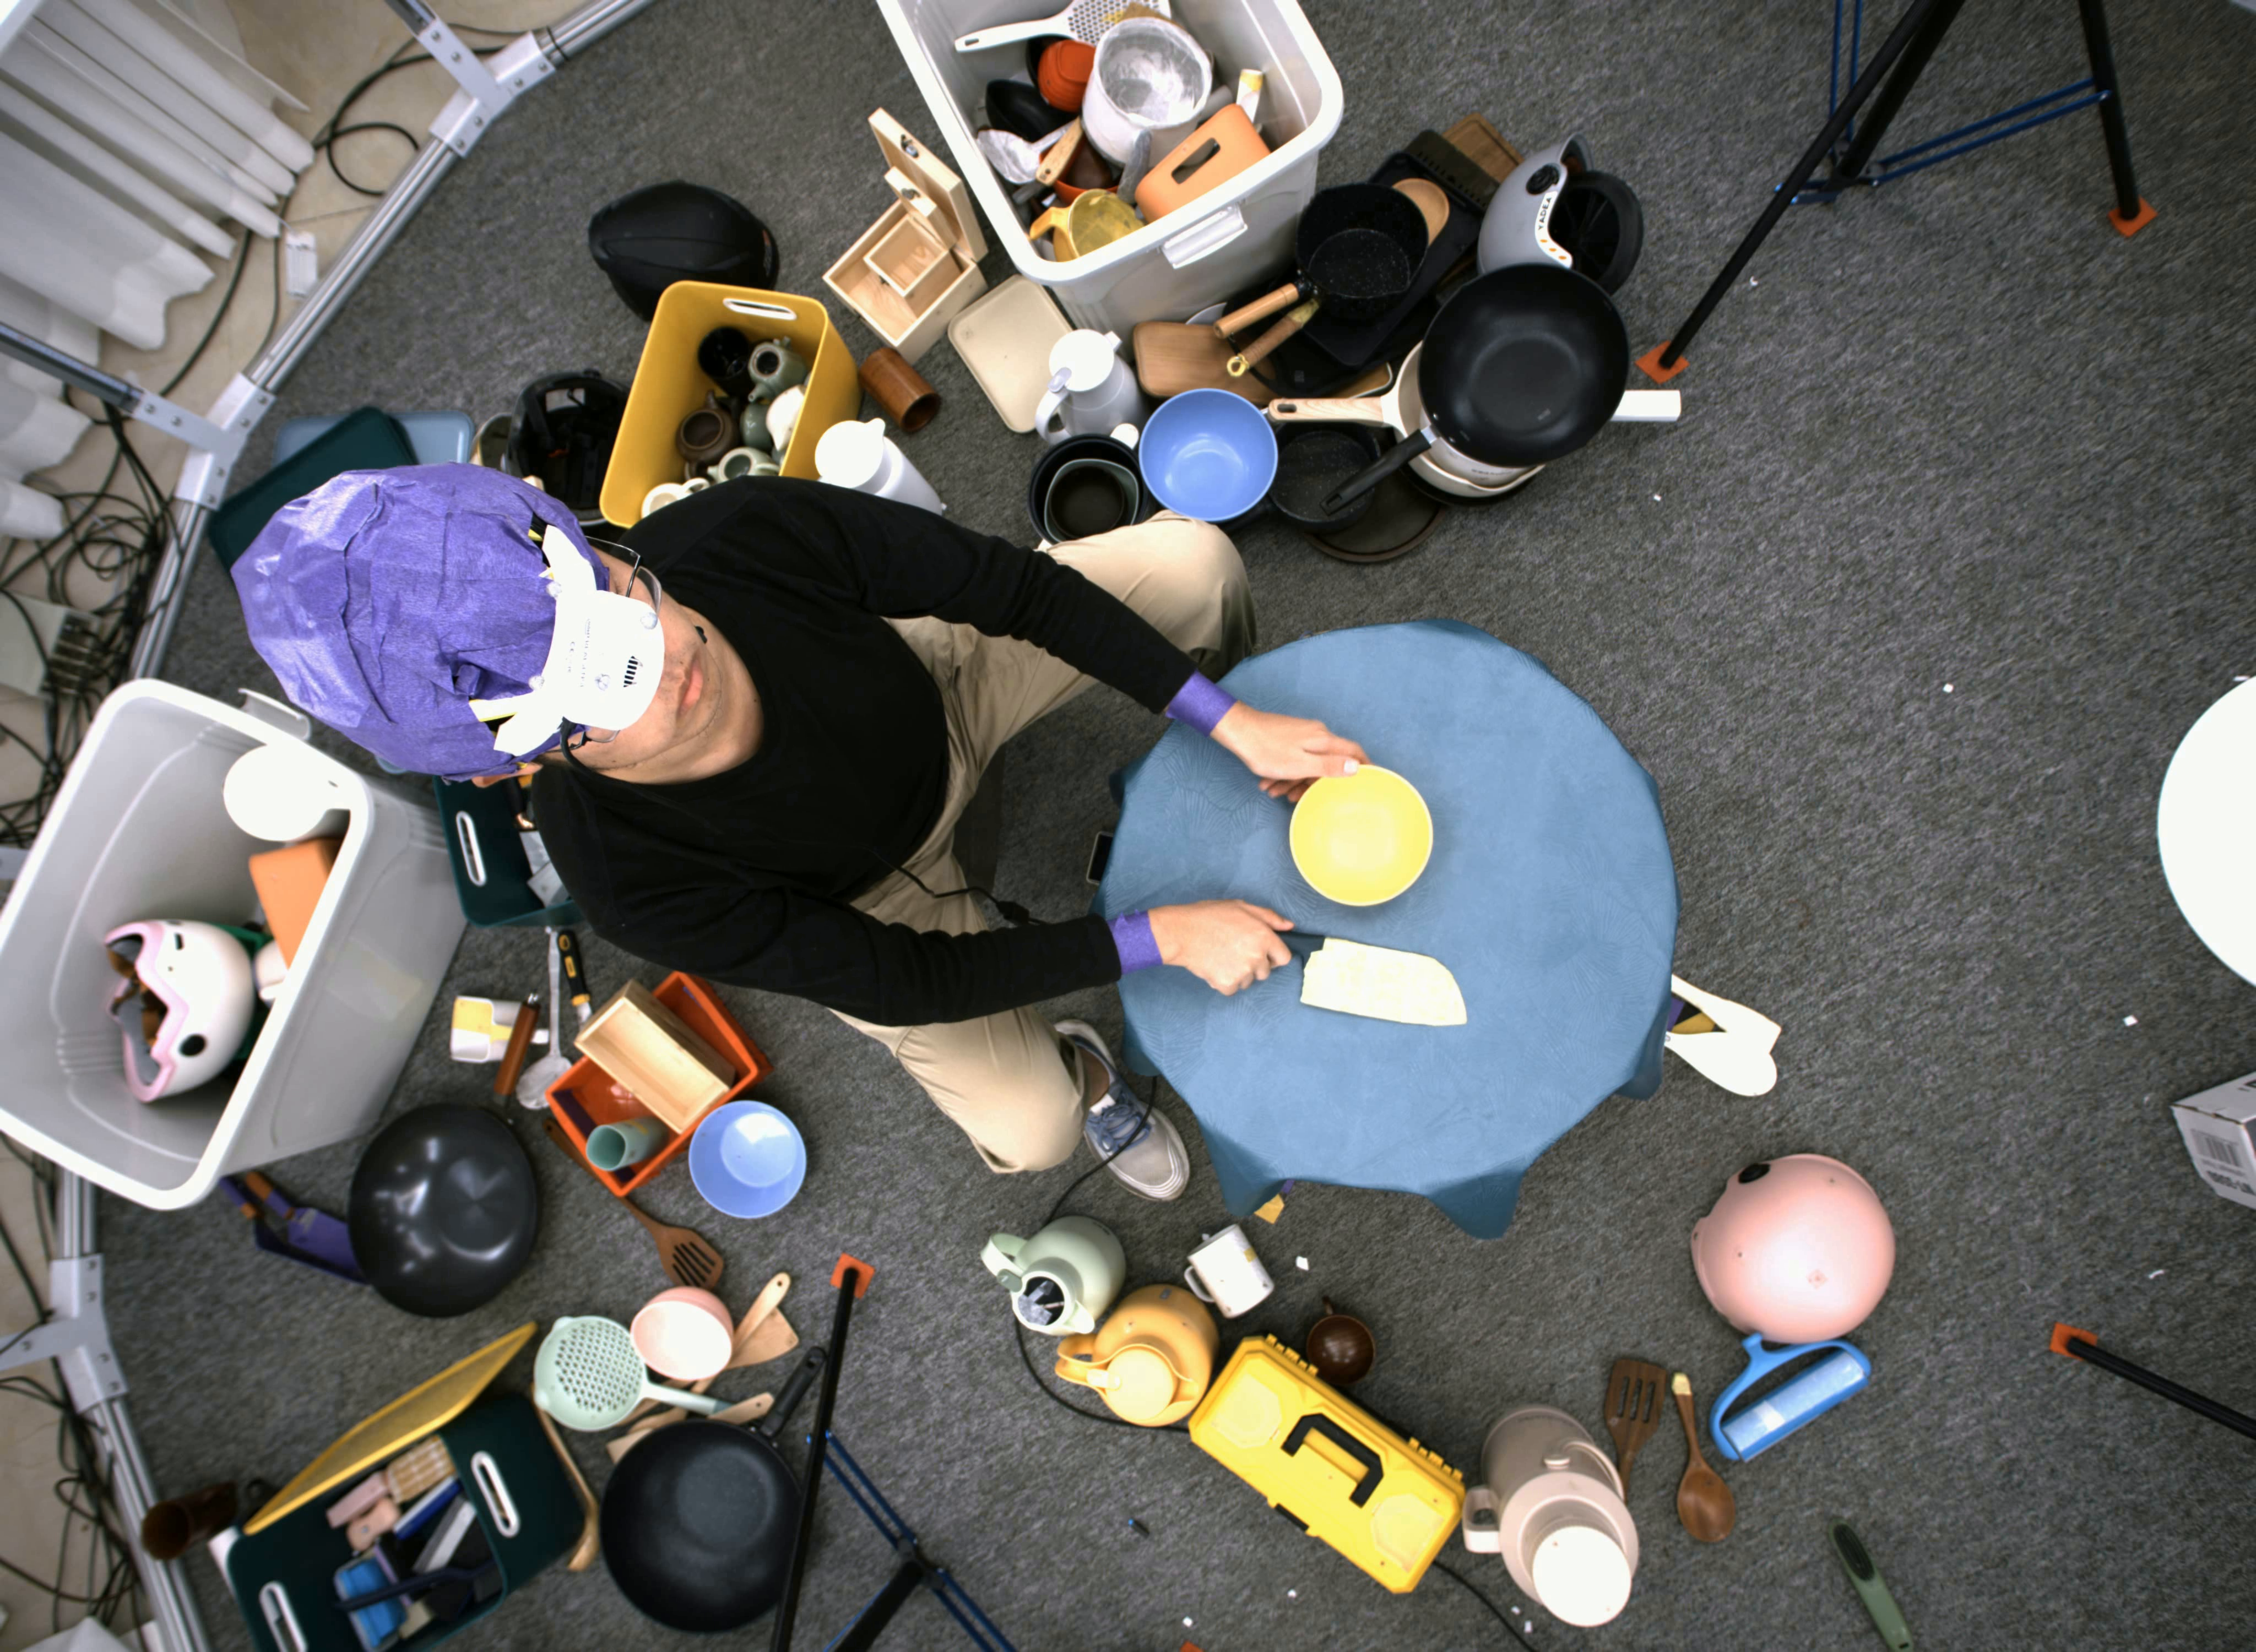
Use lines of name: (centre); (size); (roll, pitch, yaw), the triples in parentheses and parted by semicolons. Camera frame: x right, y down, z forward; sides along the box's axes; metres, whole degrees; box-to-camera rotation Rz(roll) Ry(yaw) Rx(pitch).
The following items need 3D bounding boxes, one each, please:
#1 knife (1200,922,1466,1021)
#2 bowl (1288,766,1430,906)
knife: (0.213, 0.151, 1.461); (0.290, 0.027, 0.080); (13, 86, 10)
bowl: (0.240, 0.012, 1.440); (0.146, 0.060, 0.144); (-1, 85, 9)
